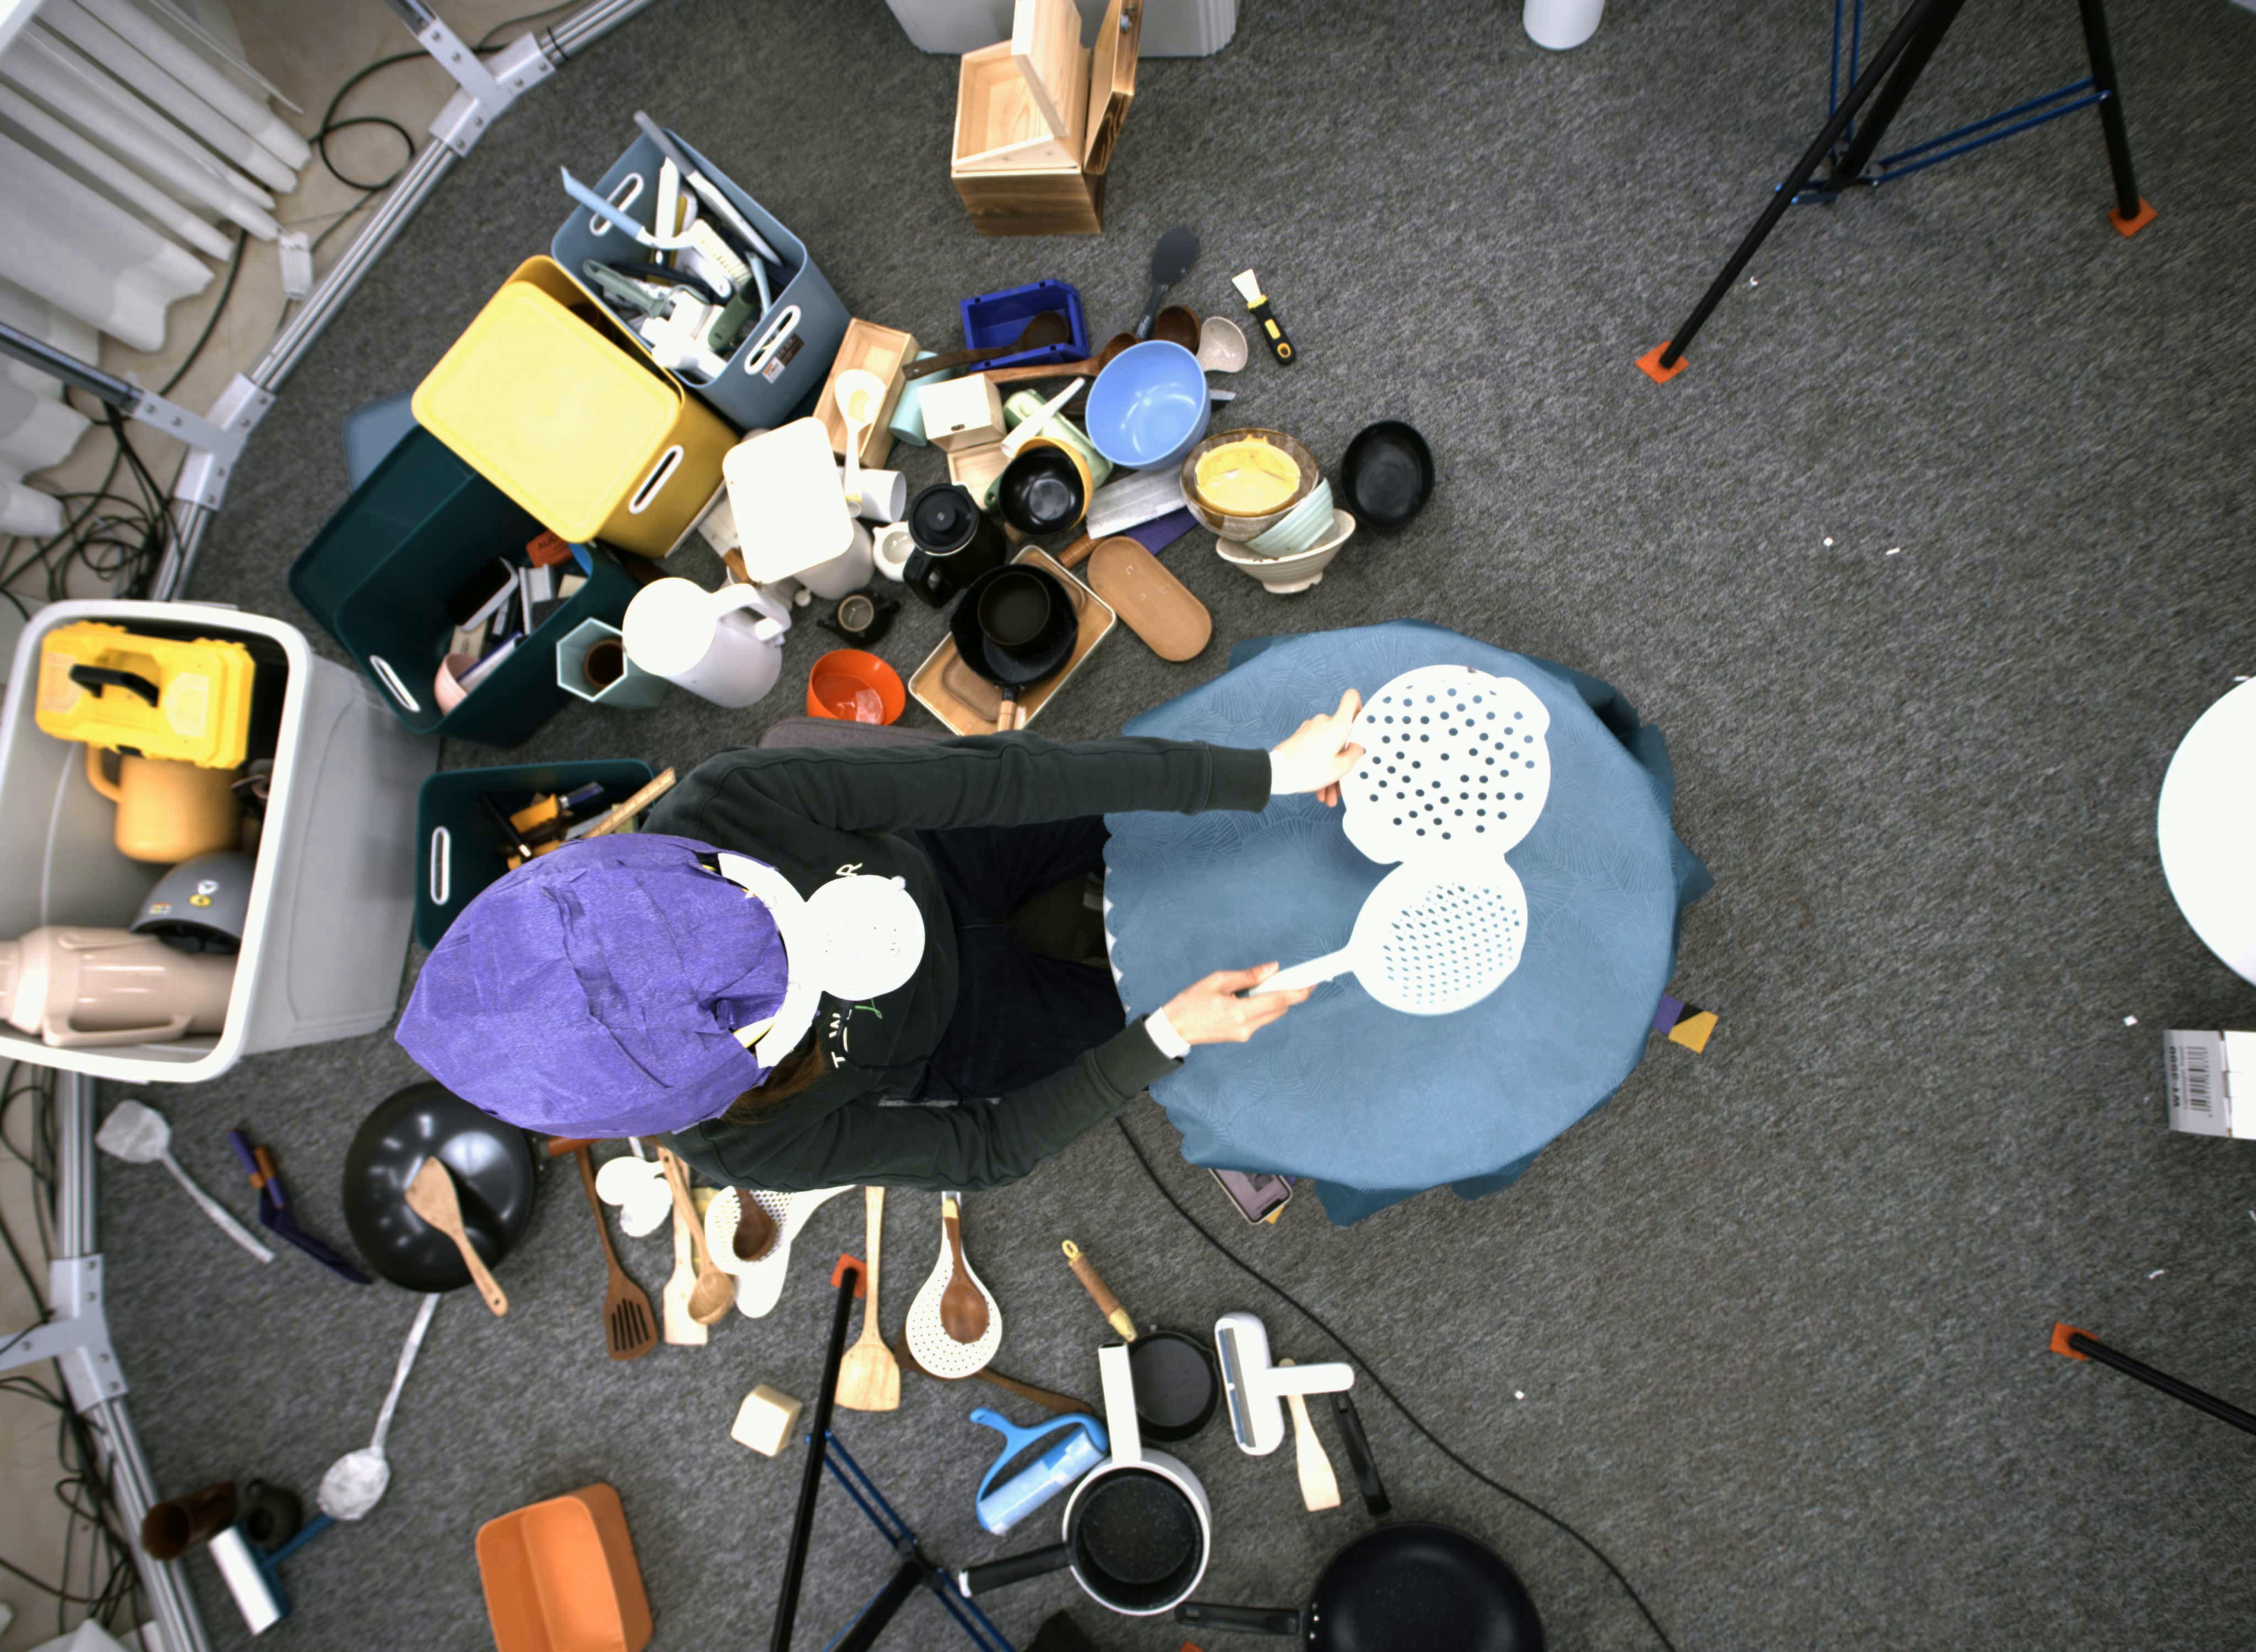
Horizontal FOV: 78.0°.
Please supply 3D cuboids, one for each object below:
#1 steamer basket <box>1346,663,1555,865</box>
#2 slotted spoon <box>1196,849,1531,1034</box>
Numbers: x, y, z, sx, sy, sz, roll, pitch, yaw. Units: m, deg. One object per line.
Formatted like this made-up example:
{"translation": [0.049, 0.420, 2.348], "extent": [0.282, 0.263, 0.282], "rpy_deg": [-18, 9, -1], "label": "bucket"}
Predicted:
{"translation": [0.321, -0.065, 1.366], "extent": [0.202, 0.068, 0.235], "rpy_deg": [43, 115, -2], "label": "steamer basket"}
{"translation": [0.212, 0.136, 1.316], "extent": [0.363, 0.076, 0.165], "rpy_deg": [-17, 49, 23], "label": "slotted spoon"}
